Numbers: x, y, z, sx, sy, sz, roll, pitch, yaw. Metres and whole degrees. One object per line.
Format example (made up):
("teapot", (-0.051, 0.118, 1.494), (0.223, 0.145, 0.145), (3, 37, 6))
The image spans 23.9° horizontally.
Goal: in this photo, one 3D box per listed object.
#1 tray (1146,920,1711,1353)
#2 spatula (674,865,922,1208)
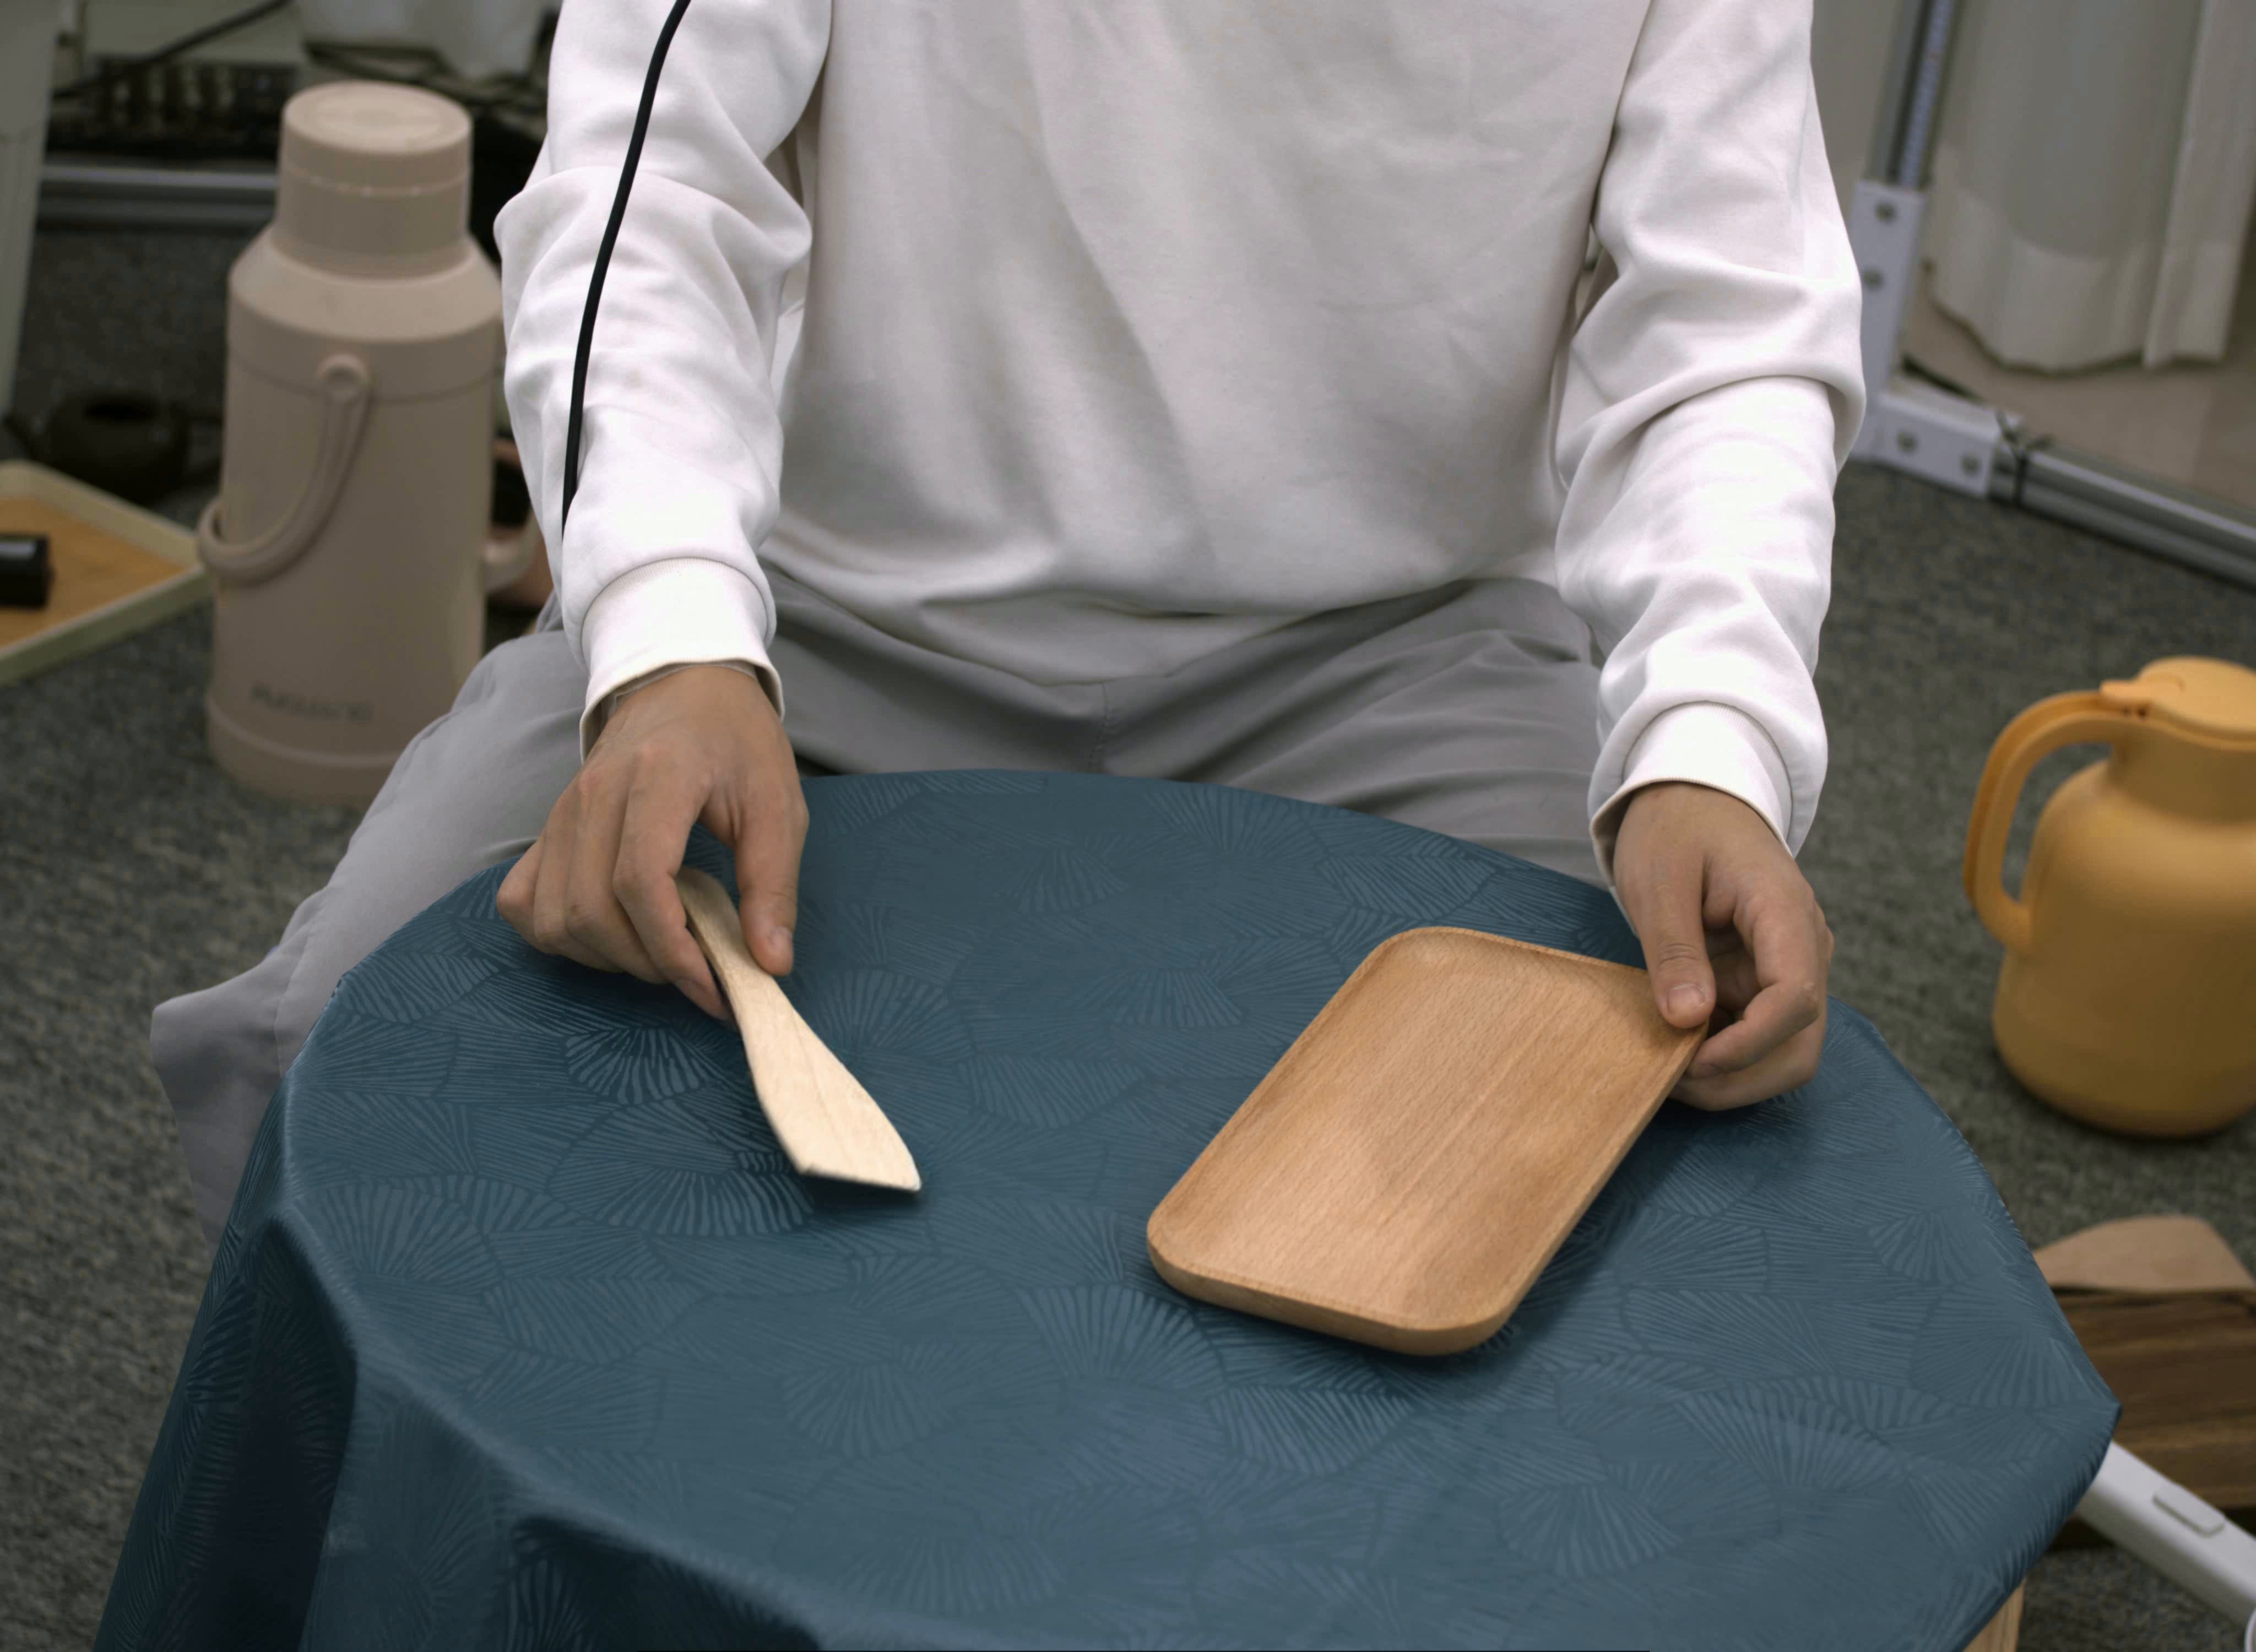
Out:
("tray", (0.106, 0.104, 1.826), (0.131, 0.023, 0.251), (15, 31, 21))
("spatula", (-0.122, 0.070, 1.849), (0.050, 0.005, 0.210), (9, 28, -27))
